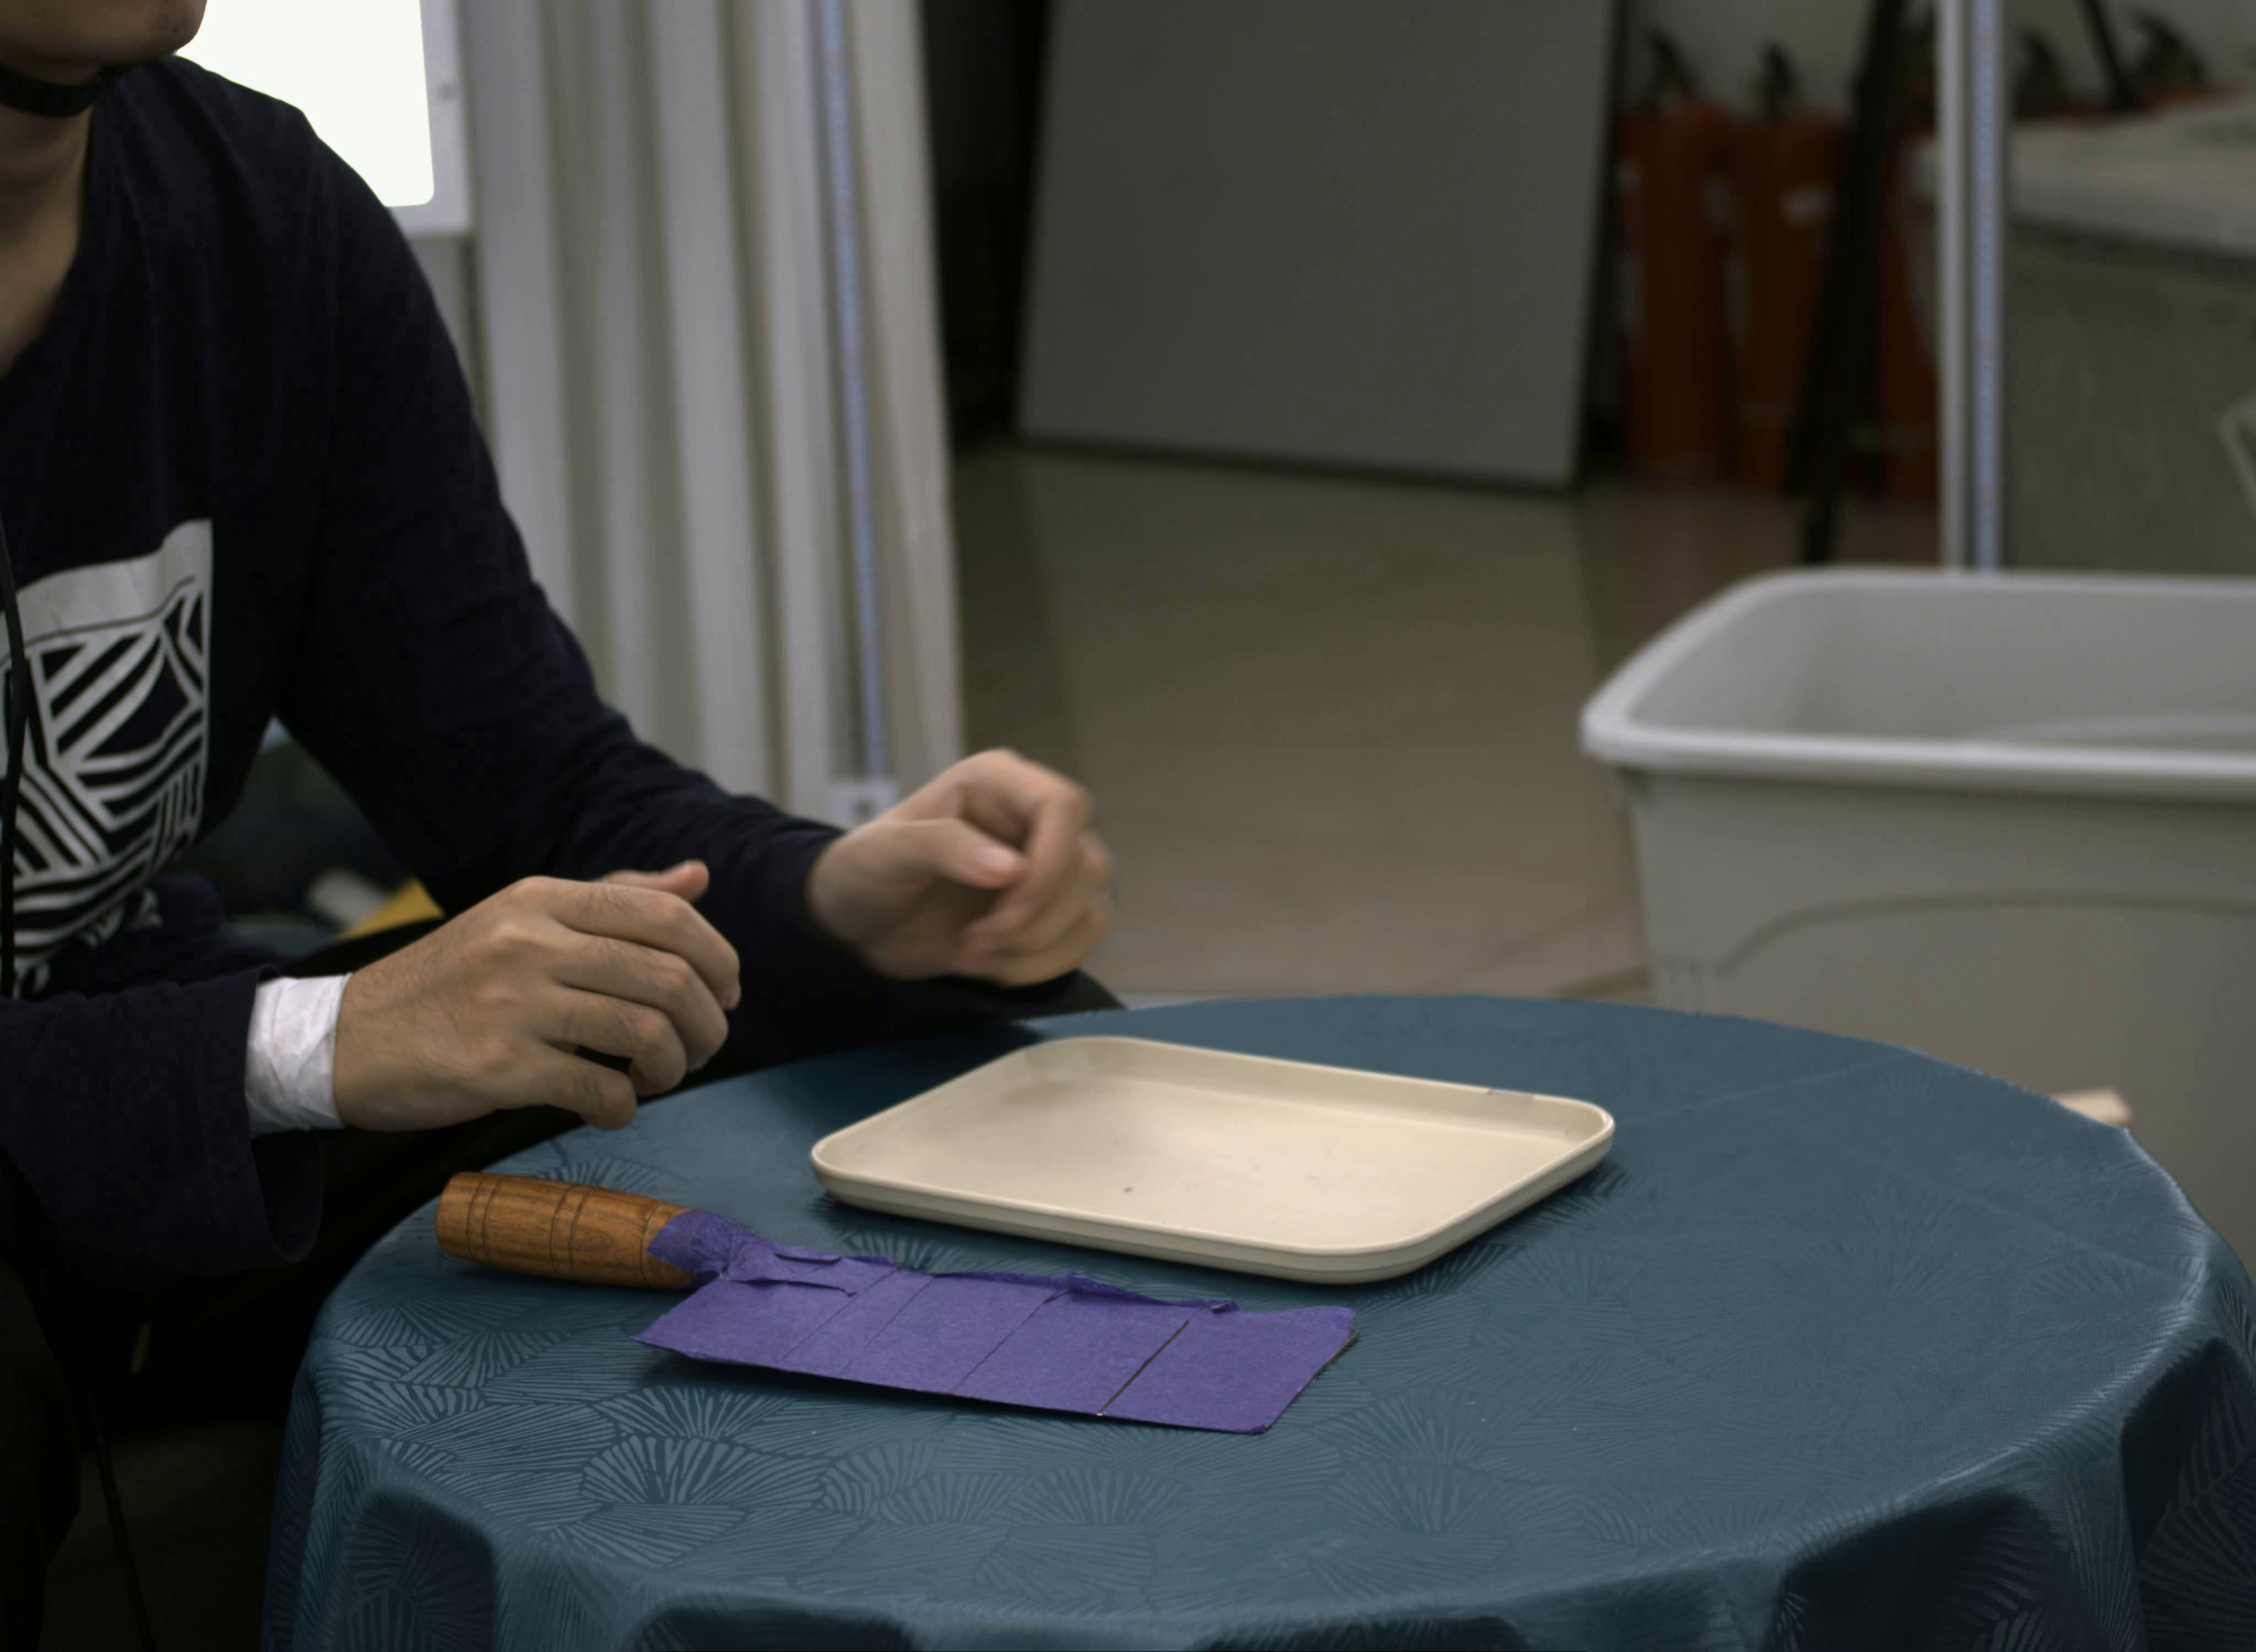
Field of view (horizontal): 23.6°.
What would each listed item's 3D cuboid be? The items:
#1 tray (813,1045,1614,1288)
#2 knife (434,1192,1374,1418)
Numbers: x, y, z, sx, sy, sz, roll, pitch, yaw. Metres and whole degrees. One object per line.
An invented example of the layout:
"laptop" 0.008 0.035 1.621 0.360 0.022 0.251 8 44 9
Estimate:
"tray" 0.028 0.111 1.772 0.241 0.017 0.168 5 17 36
"knife" -0.085 0.146 1.644 0.315 0.032 0.102 2 14 24
